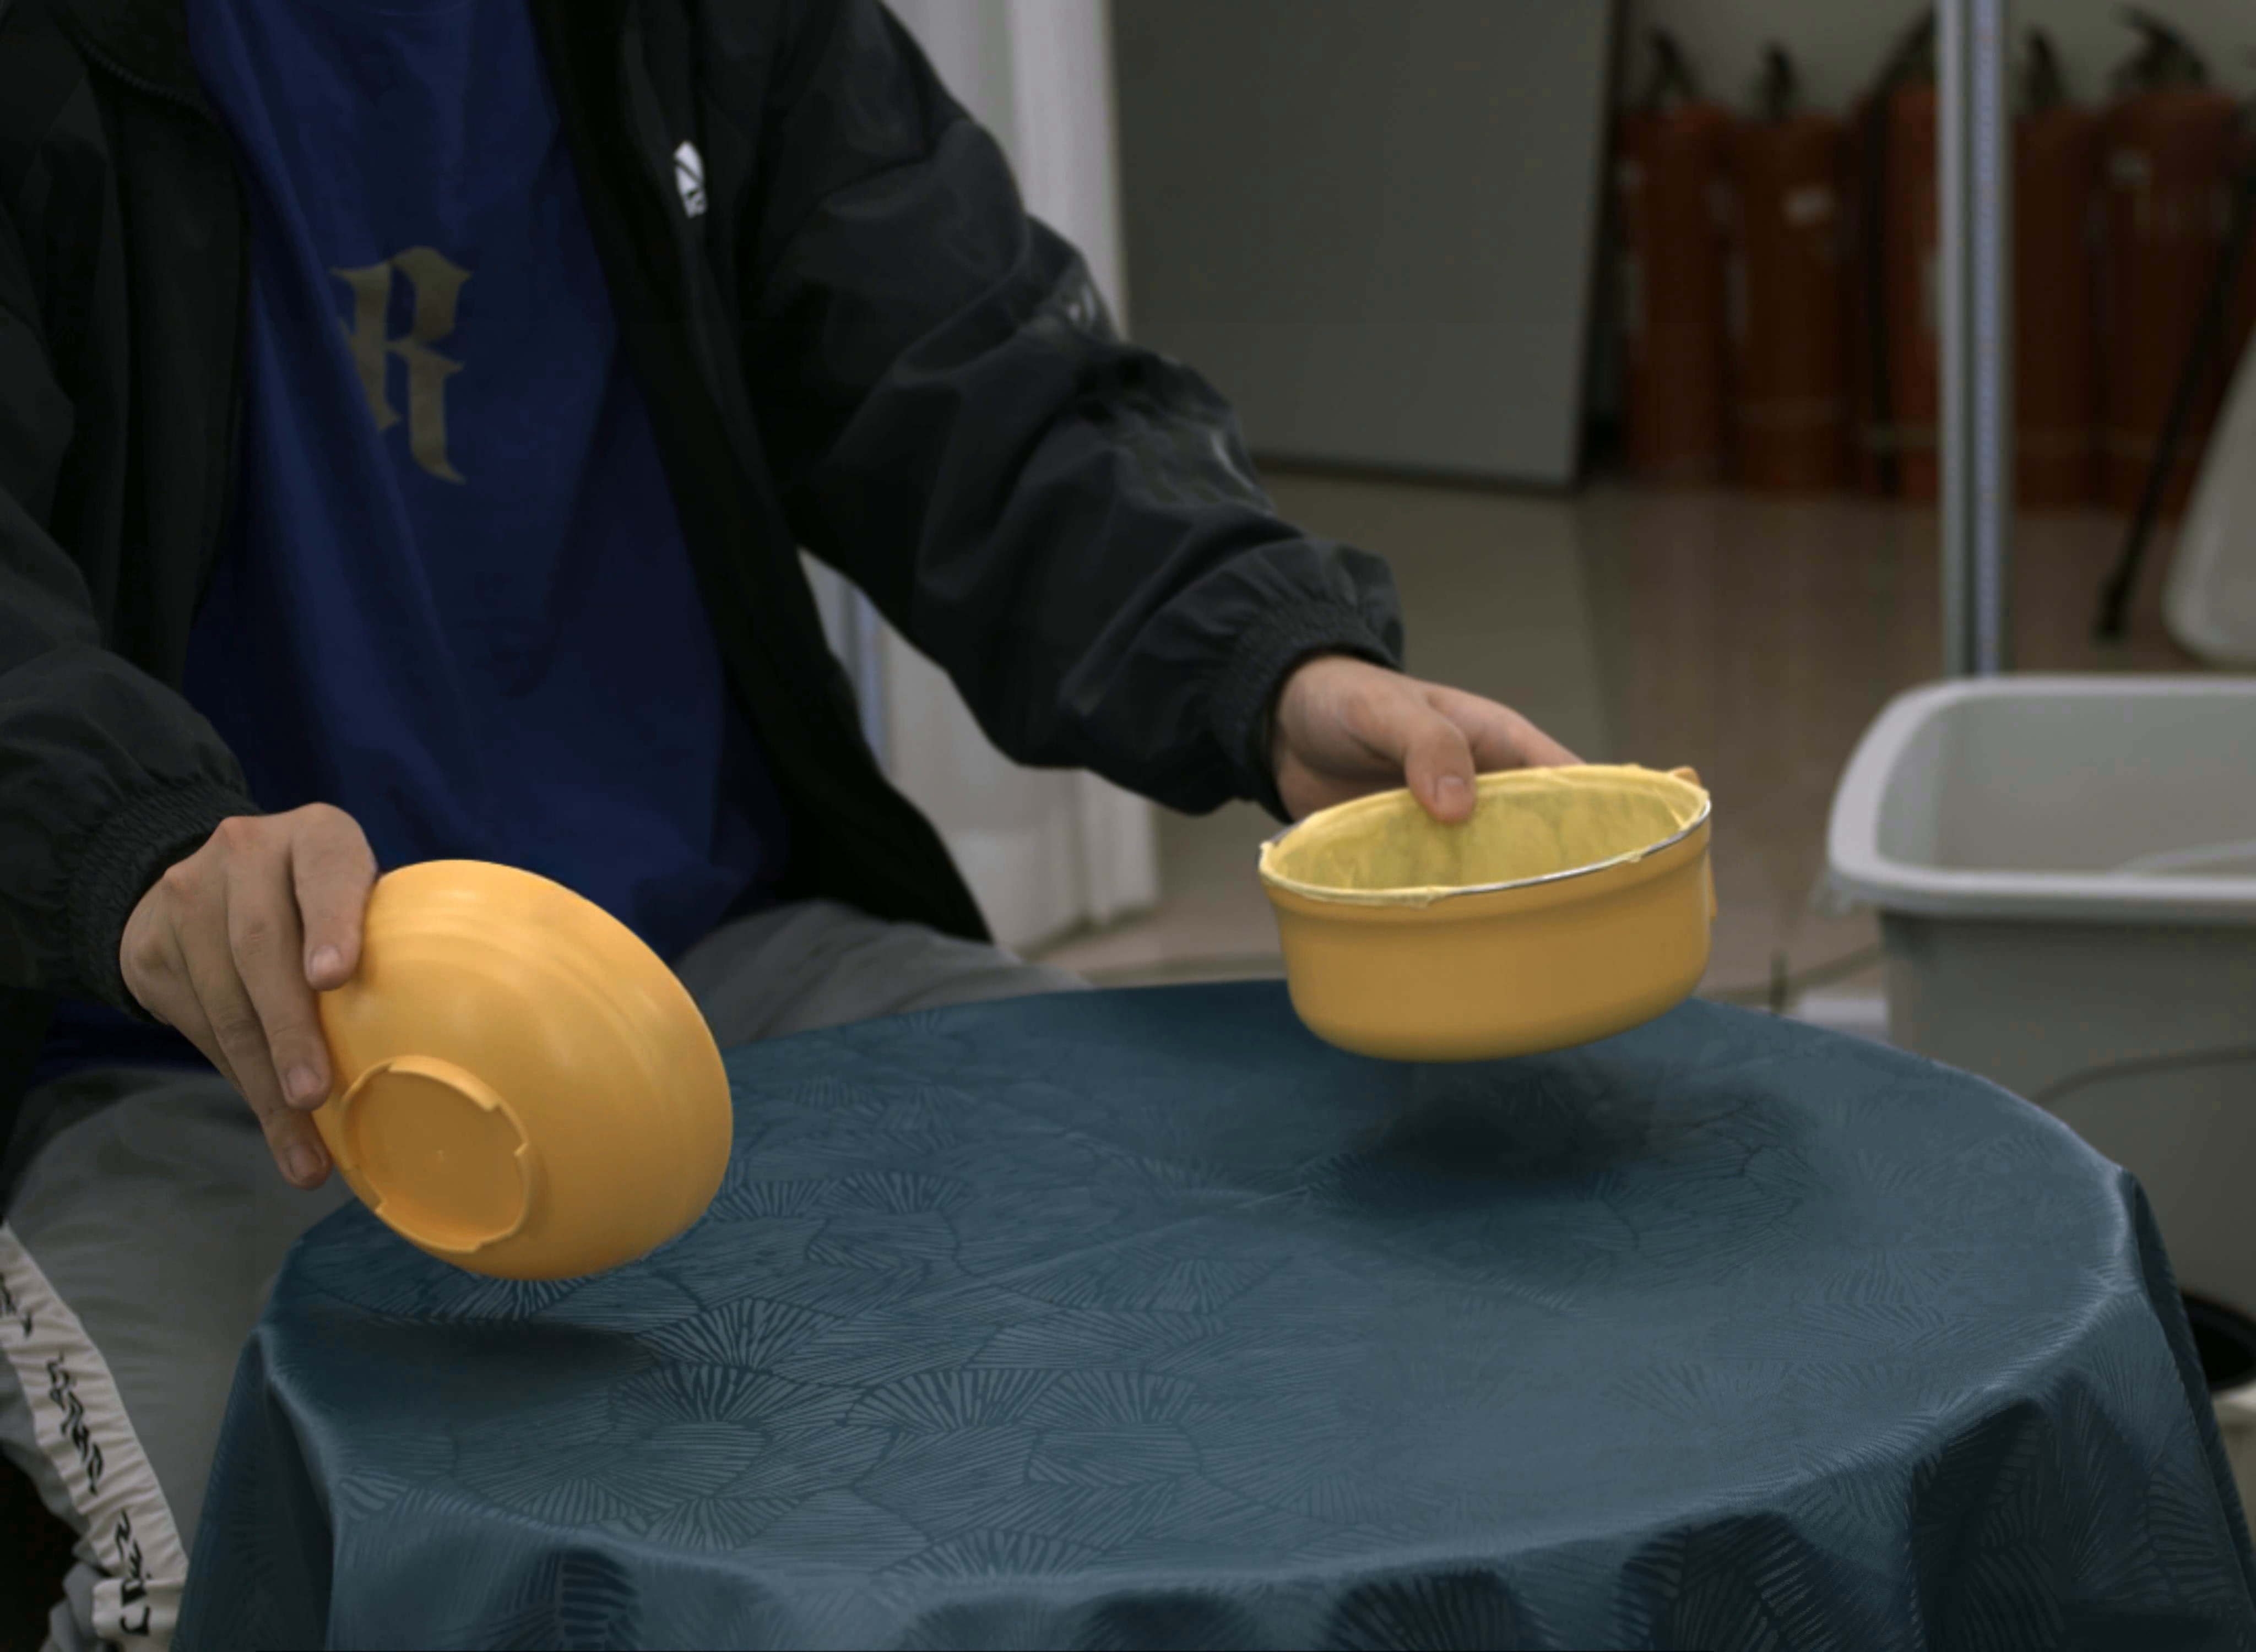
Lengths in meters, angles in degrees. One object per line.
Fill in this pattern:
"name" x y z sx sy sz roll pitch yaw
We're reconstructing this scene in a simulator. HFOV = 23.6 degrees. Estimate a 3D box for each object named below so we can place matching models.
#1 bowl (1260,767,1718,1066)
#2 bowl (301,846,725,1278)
"bowl" 0.132 0.028 1.791 0.154 0.075 0.176 1 16 39
"bowl" -0.196 0.084 1.630 0.146 0.146 0.059 4 32 29
